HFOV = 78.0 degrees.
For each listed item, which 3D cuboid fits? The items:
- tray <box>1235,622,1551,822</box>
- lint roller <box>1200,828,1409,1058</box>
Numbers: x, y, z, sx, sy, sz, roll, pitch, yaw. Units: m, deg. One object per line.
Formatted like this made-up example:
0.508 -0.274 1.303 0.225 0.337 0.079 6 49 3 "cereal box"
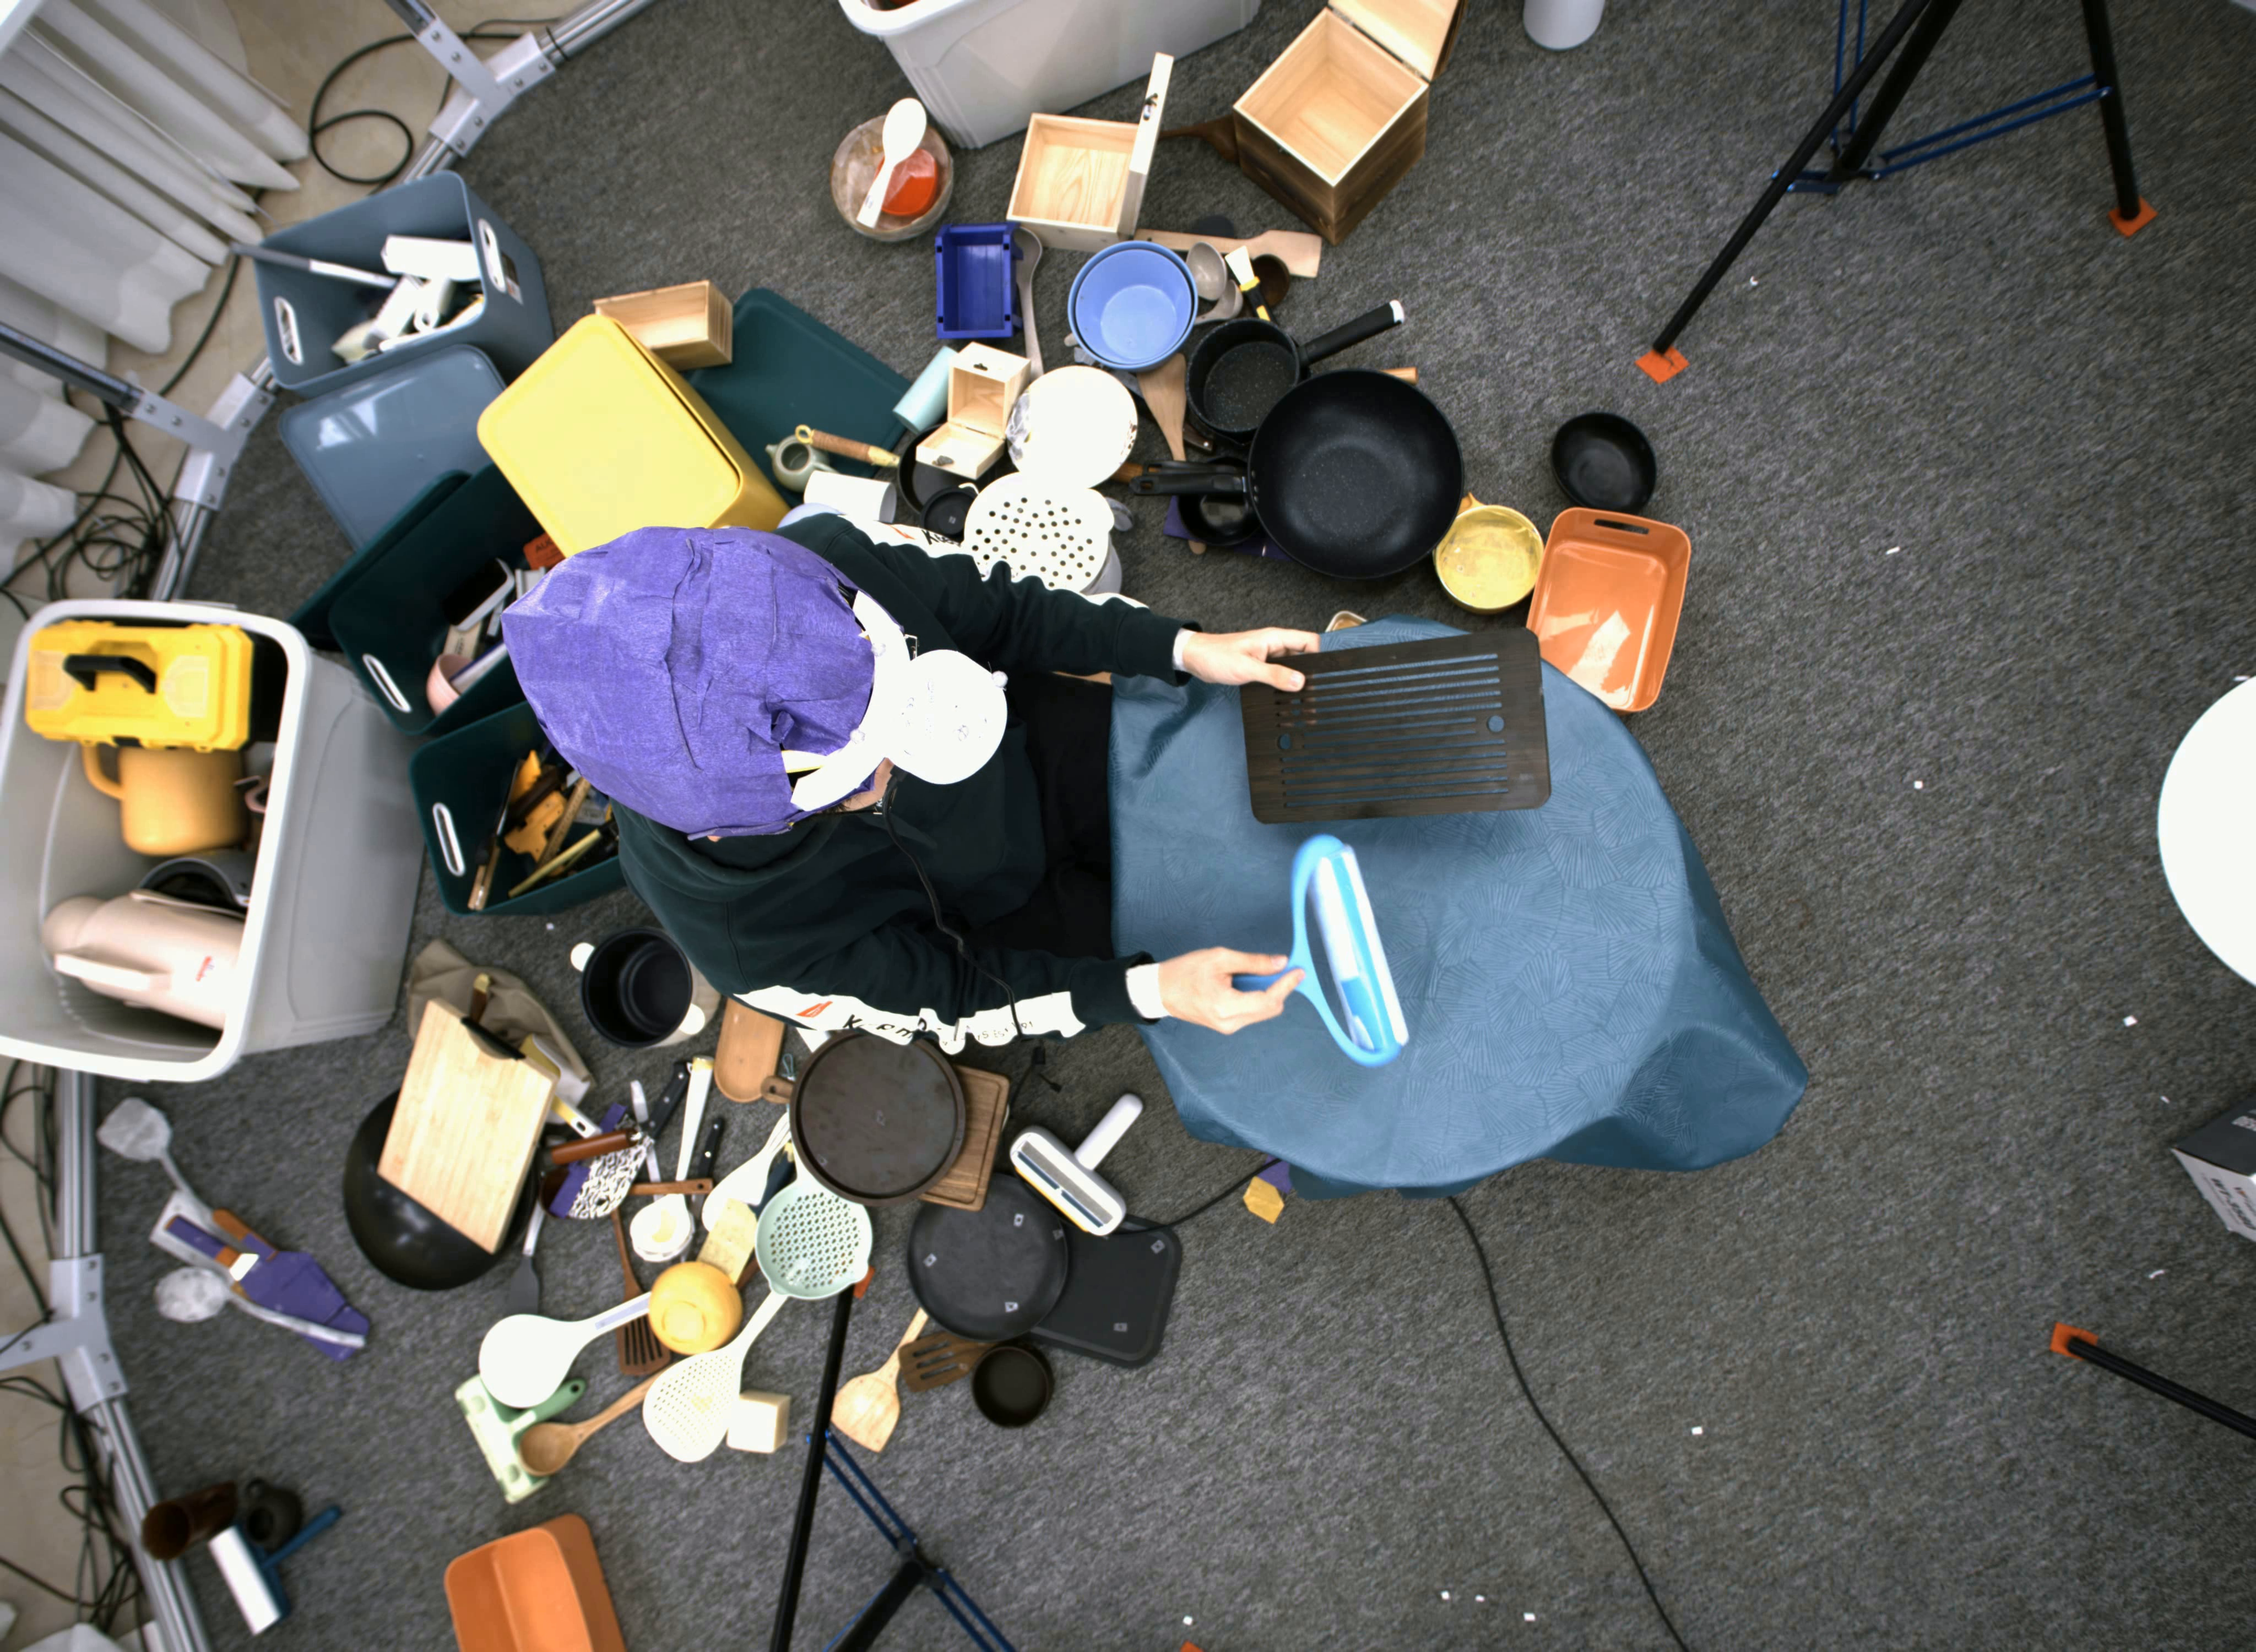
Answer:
0.252 -0.097 1.338 0.308 0.018 0.171 -4 99 31 "tray"
0.158 0.132 1.317 0.180 0.067 0.230 -22 101 0 "lint roller"
